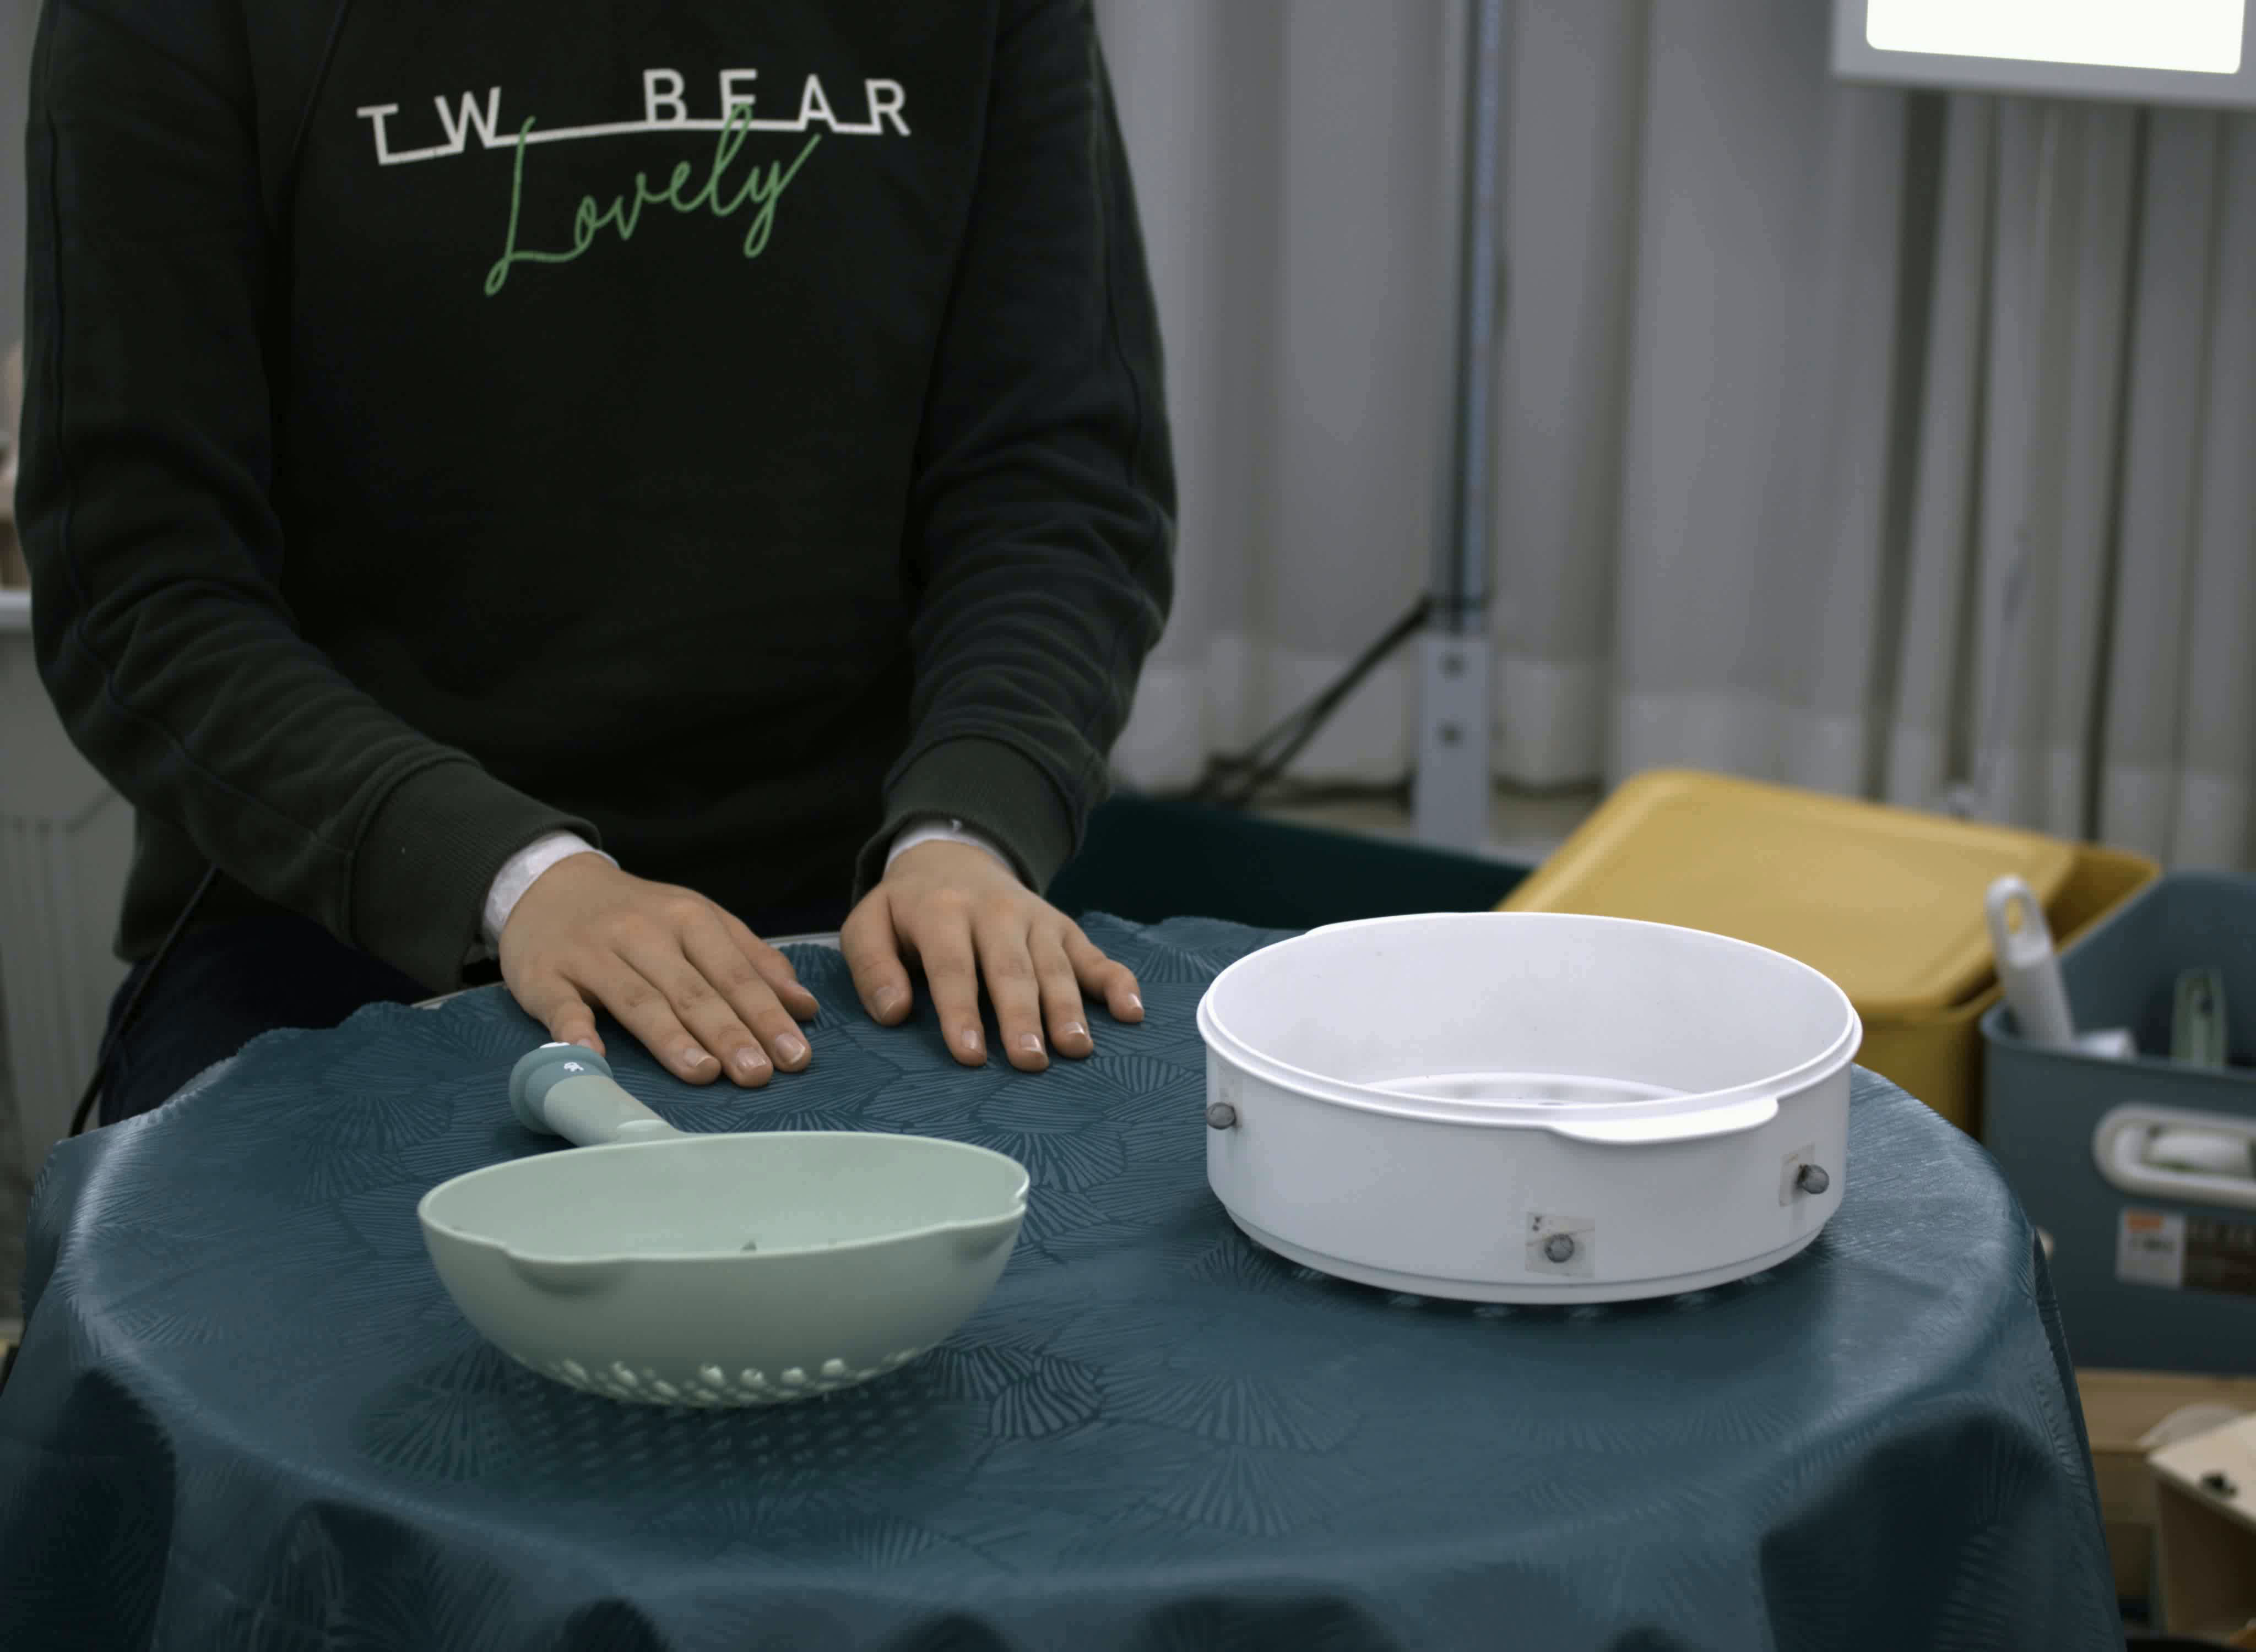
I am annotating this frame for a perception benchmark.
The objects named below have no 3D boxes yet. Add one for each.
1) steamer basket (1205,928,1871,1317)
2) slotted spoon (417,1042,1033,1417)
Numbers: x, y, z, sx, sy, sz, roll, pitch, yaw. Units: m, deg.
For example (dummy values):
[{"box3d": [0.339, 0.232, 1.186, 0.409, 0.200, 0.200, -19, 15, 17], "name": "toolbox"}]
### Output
[{"box3d": [0.123, 0.089, 1.597, 0.202, 0.070, 0.228, -5, 16, -21], "name": "steamer basket"}, {"box3d": [-0.138, 0.101, 1.541, 0.169, 0.076, 0.355, -4, 16, -17], "name": "slotted spoon"}]
